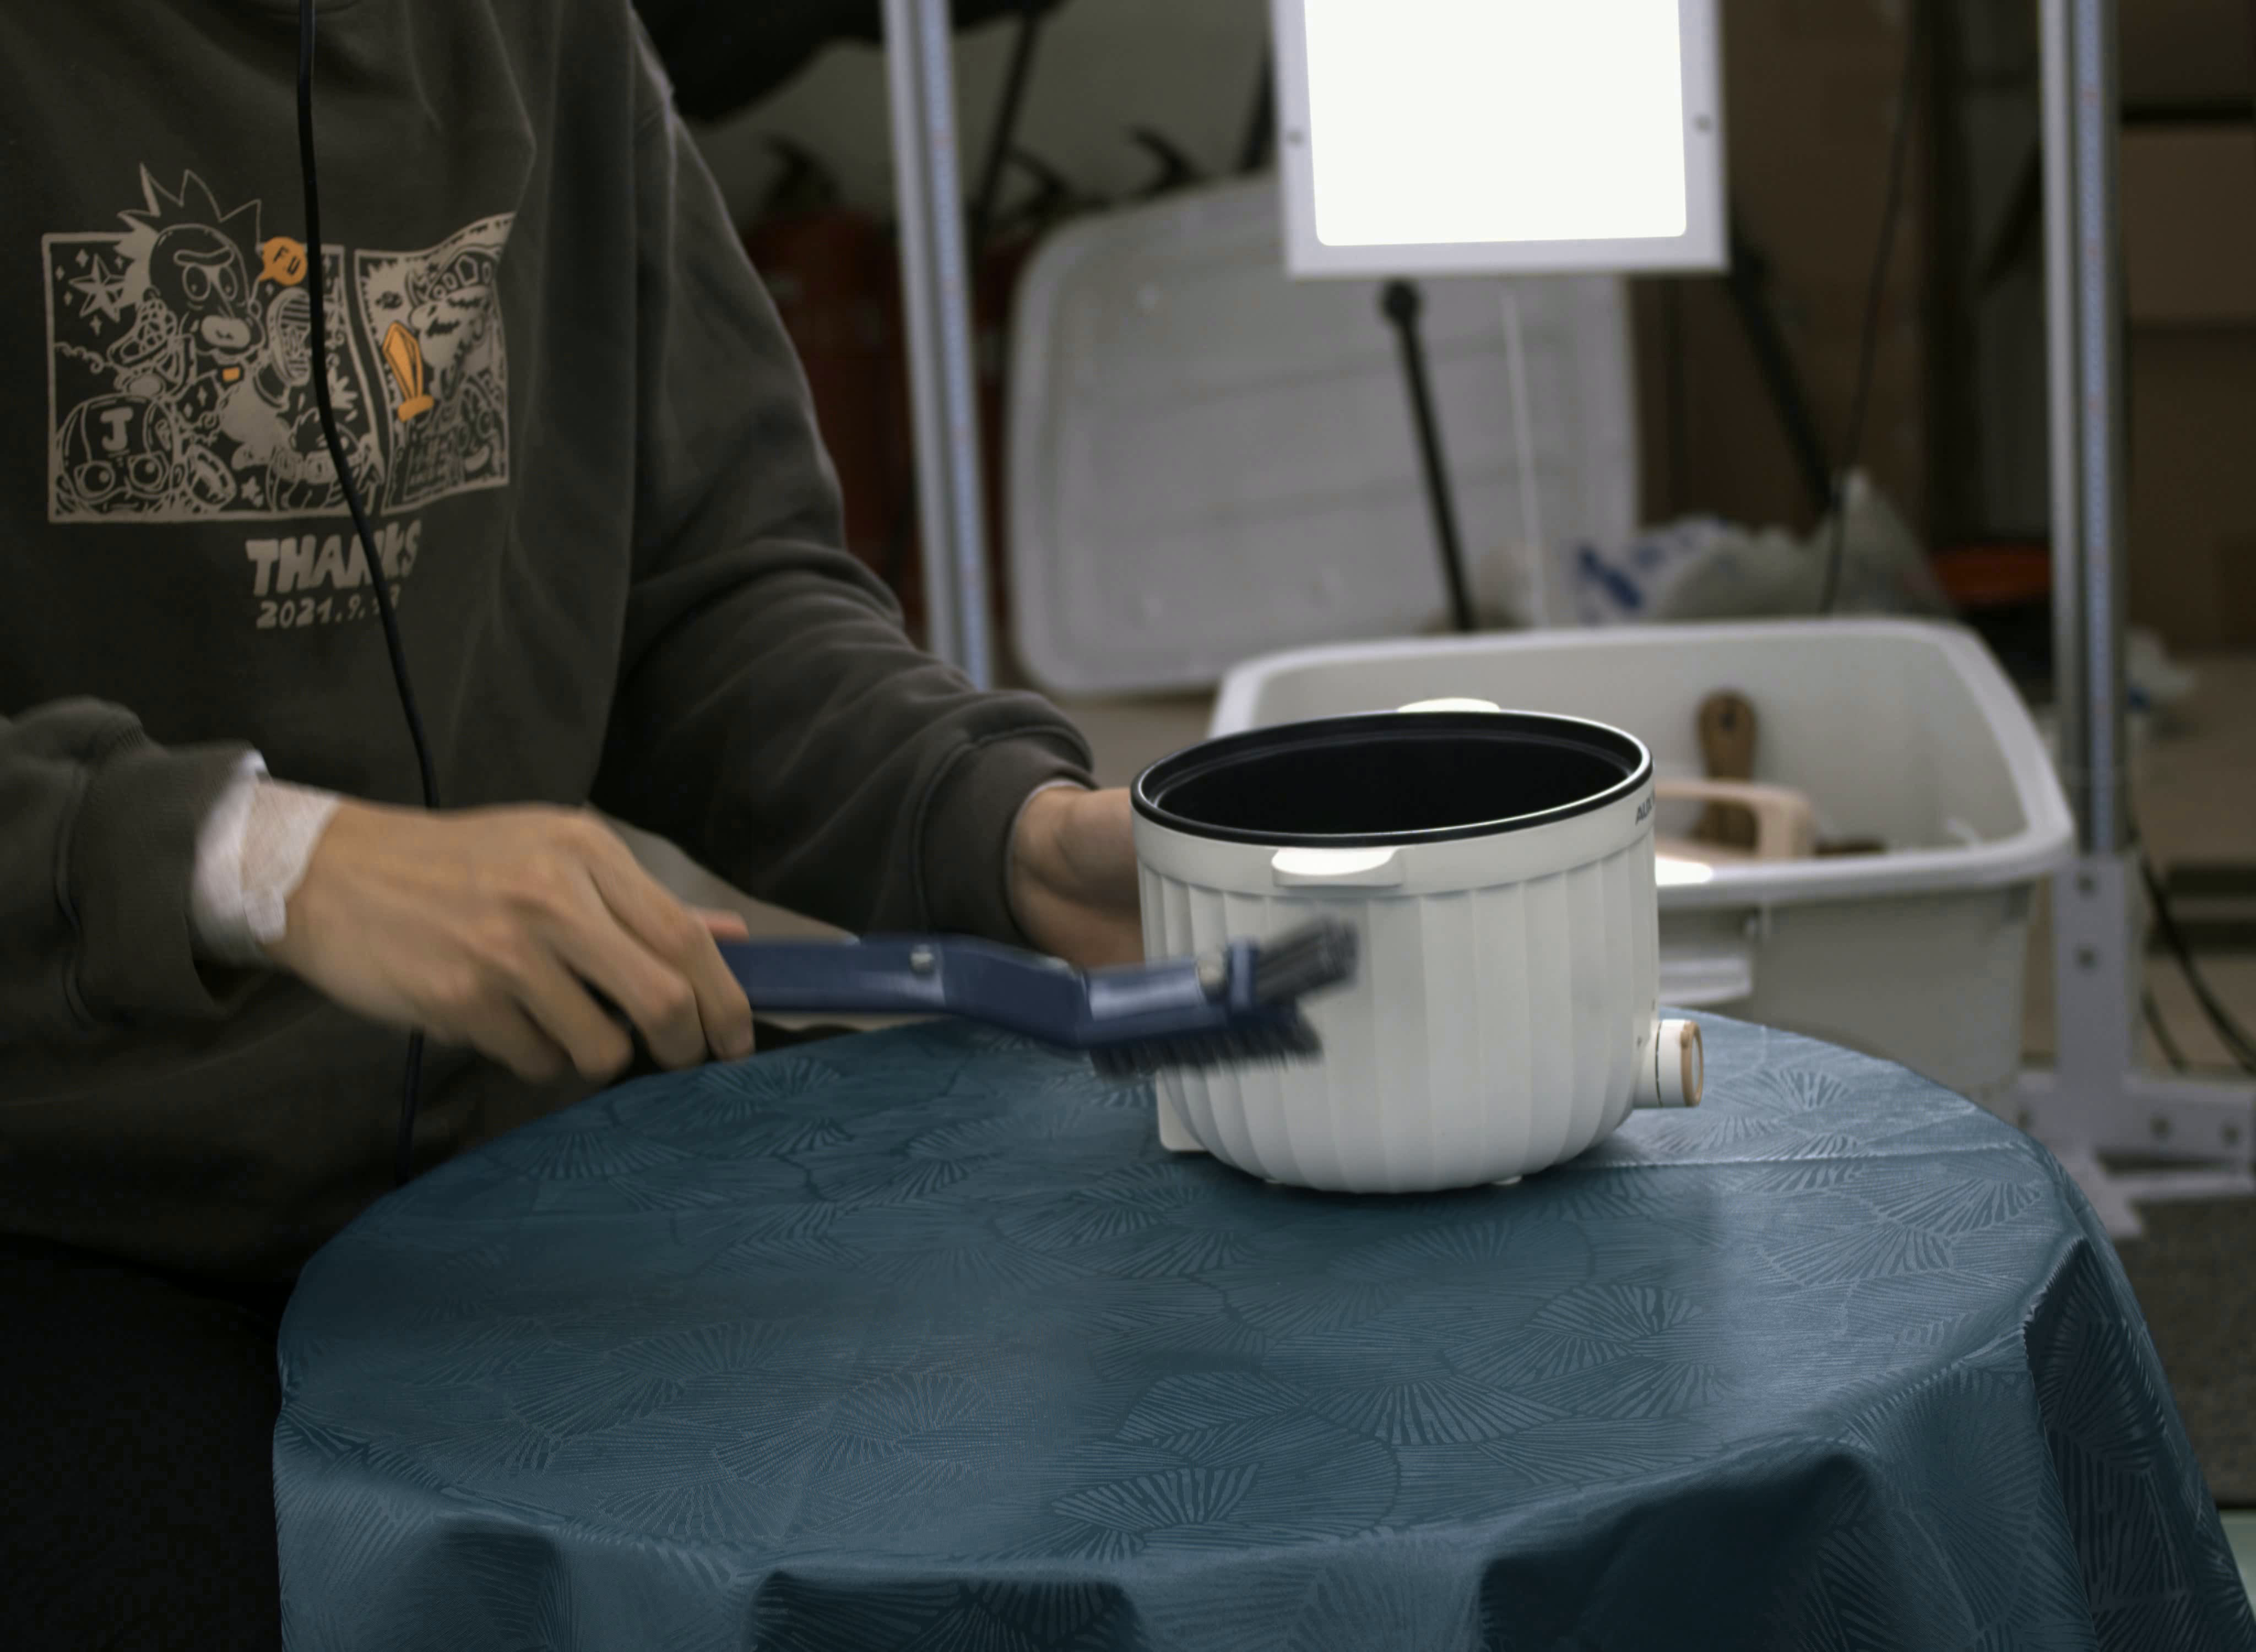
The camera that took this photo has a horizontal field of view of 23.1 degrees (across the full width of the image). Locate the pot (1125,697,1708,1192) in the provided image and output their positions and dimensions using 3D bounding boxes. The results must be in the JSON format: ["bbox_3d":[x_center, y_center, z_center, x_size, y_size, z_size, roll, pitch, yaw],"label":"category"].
[{"bbox_3d":[0.101,0.043,1.904,0.192,0.143,0.237,-5,15,16],"label":"pot"}]

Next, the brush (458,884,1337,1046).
[{"bbox_3d":[-0.074,0.036,1.726,0.272,0.033,0.096,5,-31,0],"label":"brush"}]
